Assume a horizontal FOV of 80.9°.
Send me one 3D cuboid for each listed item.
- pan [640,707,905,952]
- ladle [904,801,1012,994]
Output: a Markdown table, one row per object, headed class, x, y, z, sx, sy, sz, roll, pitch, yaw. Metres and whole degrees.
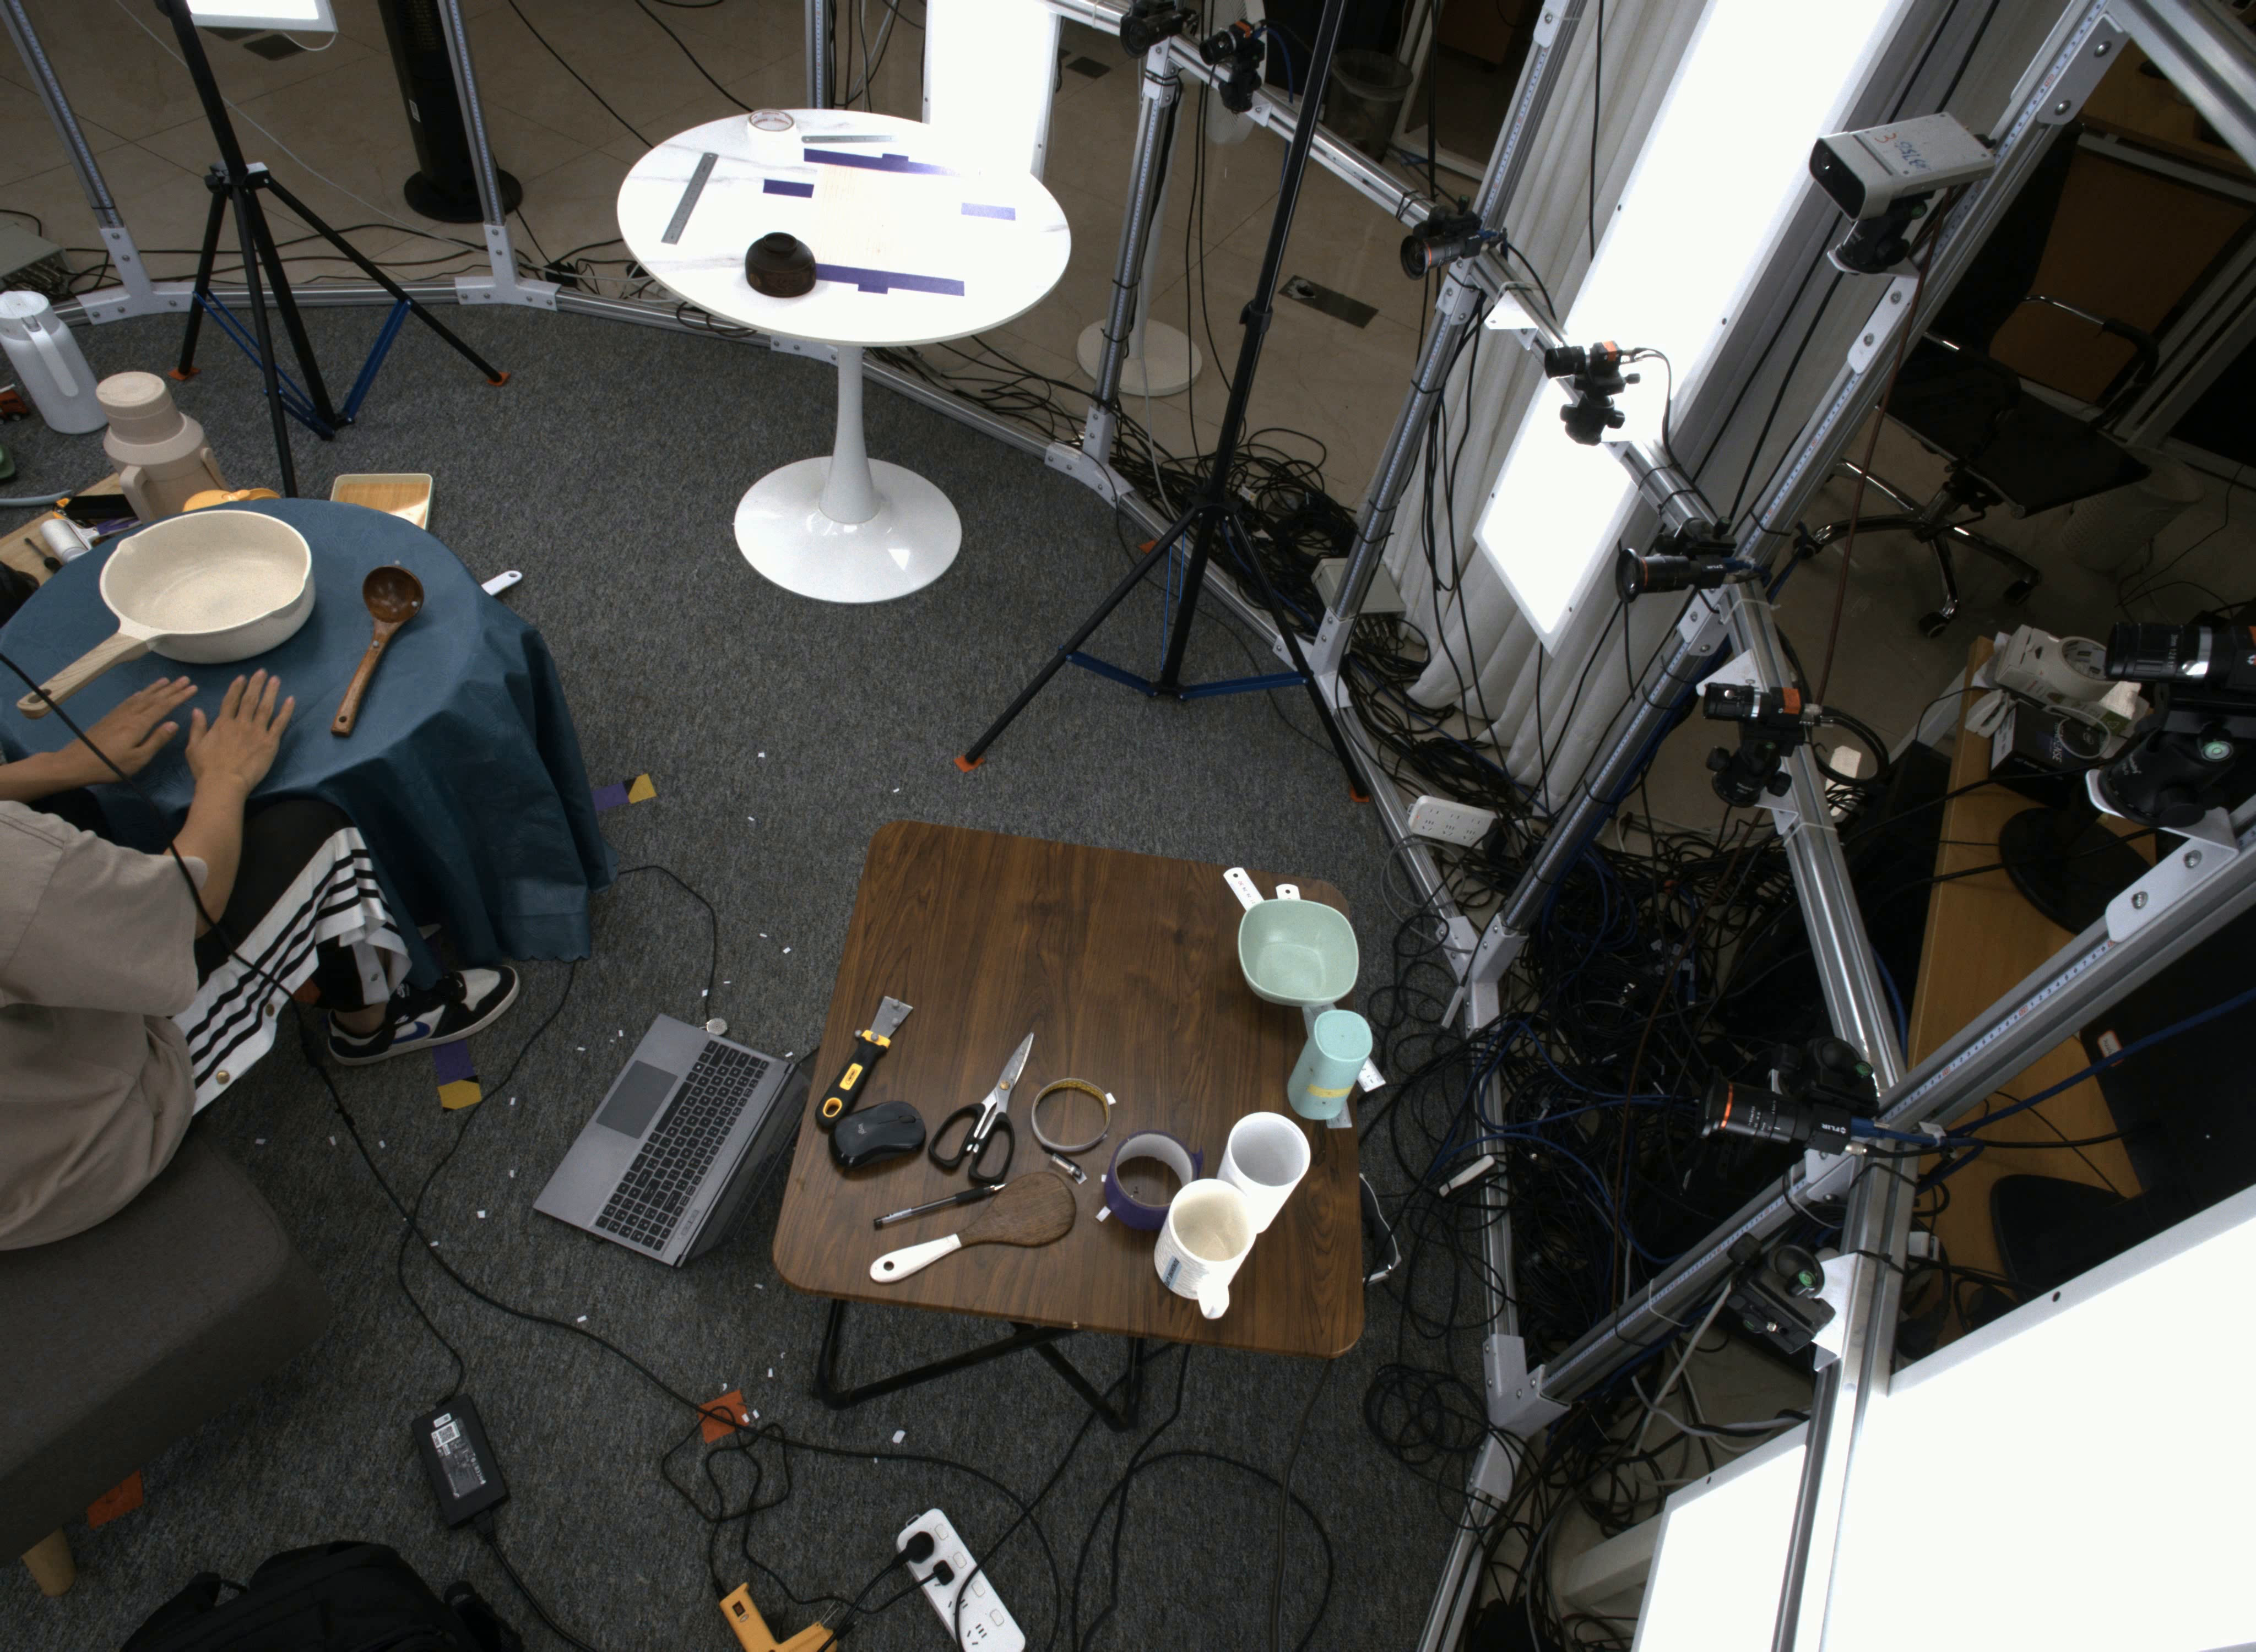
| class | x | y | z | sx | sy | sz | roll | pitch | yaw |
| --- | --- | --- | --- | --- | --- | --- | --- | --- | --- |
| pan | -0.463 | 0.020 | 1.646 | 0.259 | 0.104 | 0.433 | 30 | 53 | 9 |
| ladle | -0.222 | 0.084 | 1.669 | 0.081 | 0.078 | 0.271 | 20 | 51 | 0 |
